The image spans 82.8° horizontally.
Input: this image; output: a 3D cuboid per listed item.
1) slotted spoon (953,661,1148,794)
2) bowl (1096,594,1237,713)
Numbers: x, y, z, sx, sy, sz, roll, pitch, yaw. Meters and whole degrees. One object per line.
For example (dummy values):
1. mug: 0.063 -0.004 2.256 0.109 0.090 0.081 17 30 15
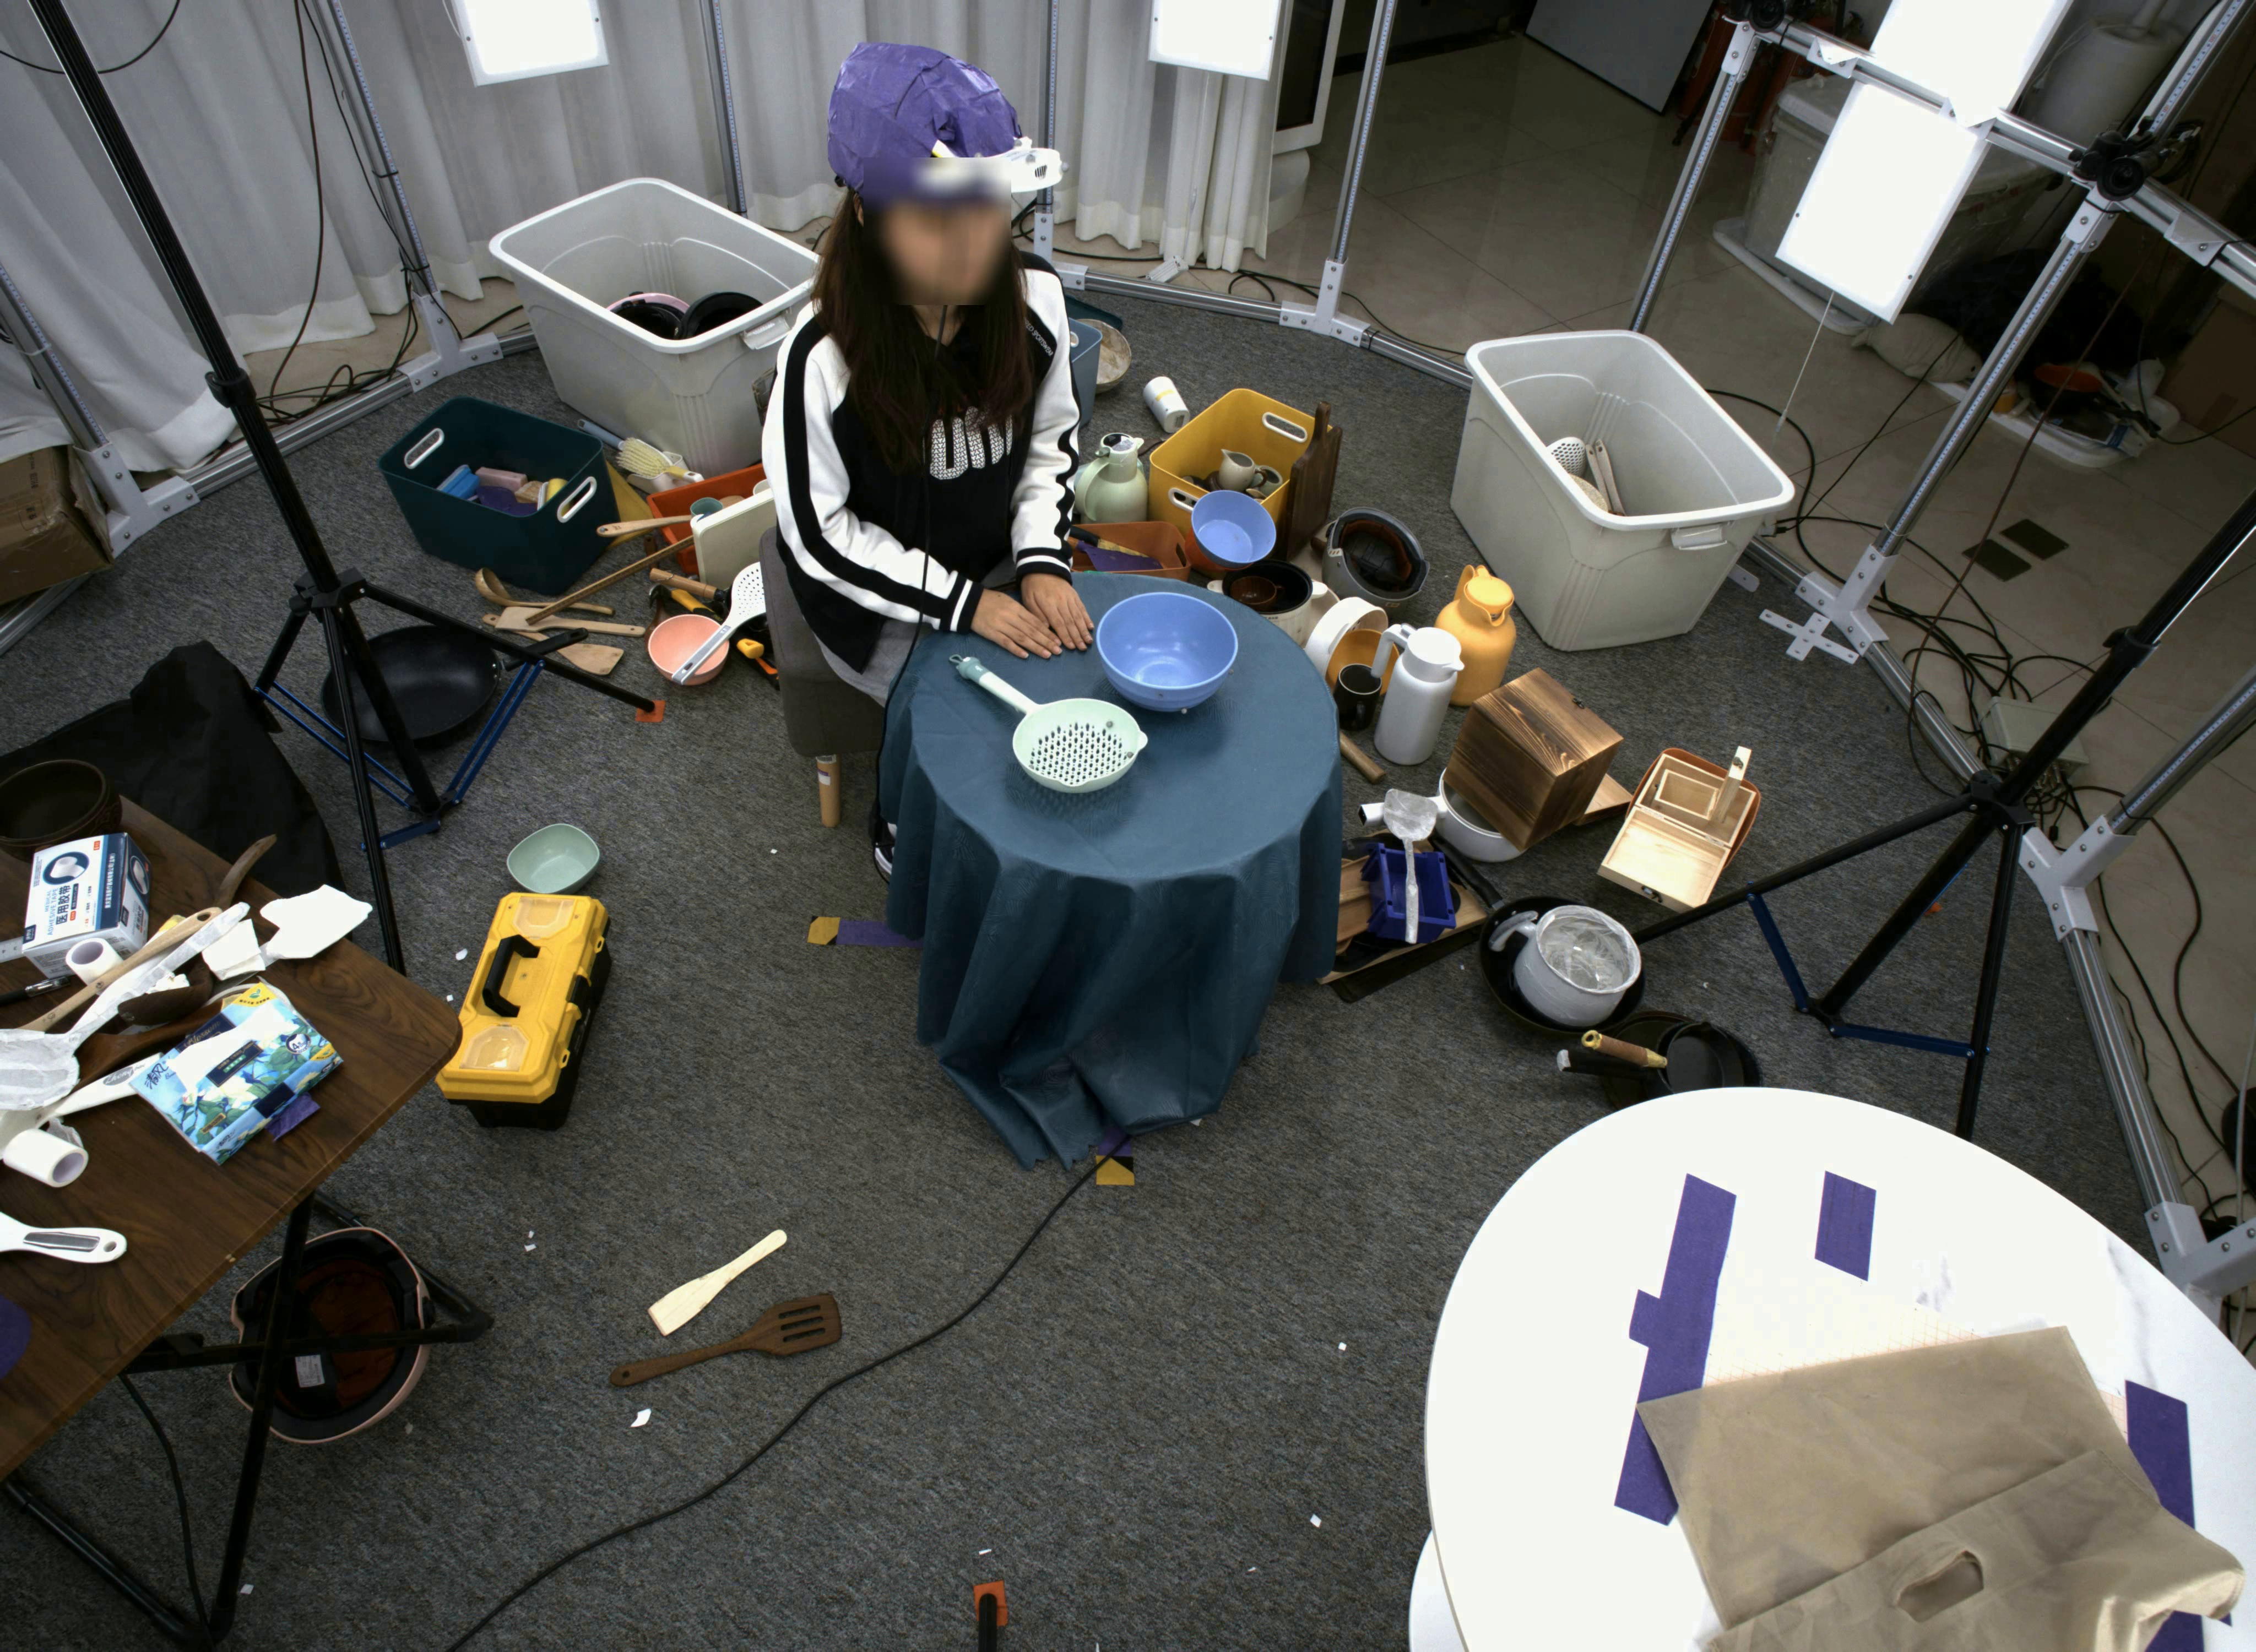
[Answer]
1. slotted spoon: -0.131 -0.153 1.757 0.170 0.073 0.365 -31 56 -28
2. bowl: 0.051 -0.229 1.811 0.196 0.093 0.201 1 49 -2
